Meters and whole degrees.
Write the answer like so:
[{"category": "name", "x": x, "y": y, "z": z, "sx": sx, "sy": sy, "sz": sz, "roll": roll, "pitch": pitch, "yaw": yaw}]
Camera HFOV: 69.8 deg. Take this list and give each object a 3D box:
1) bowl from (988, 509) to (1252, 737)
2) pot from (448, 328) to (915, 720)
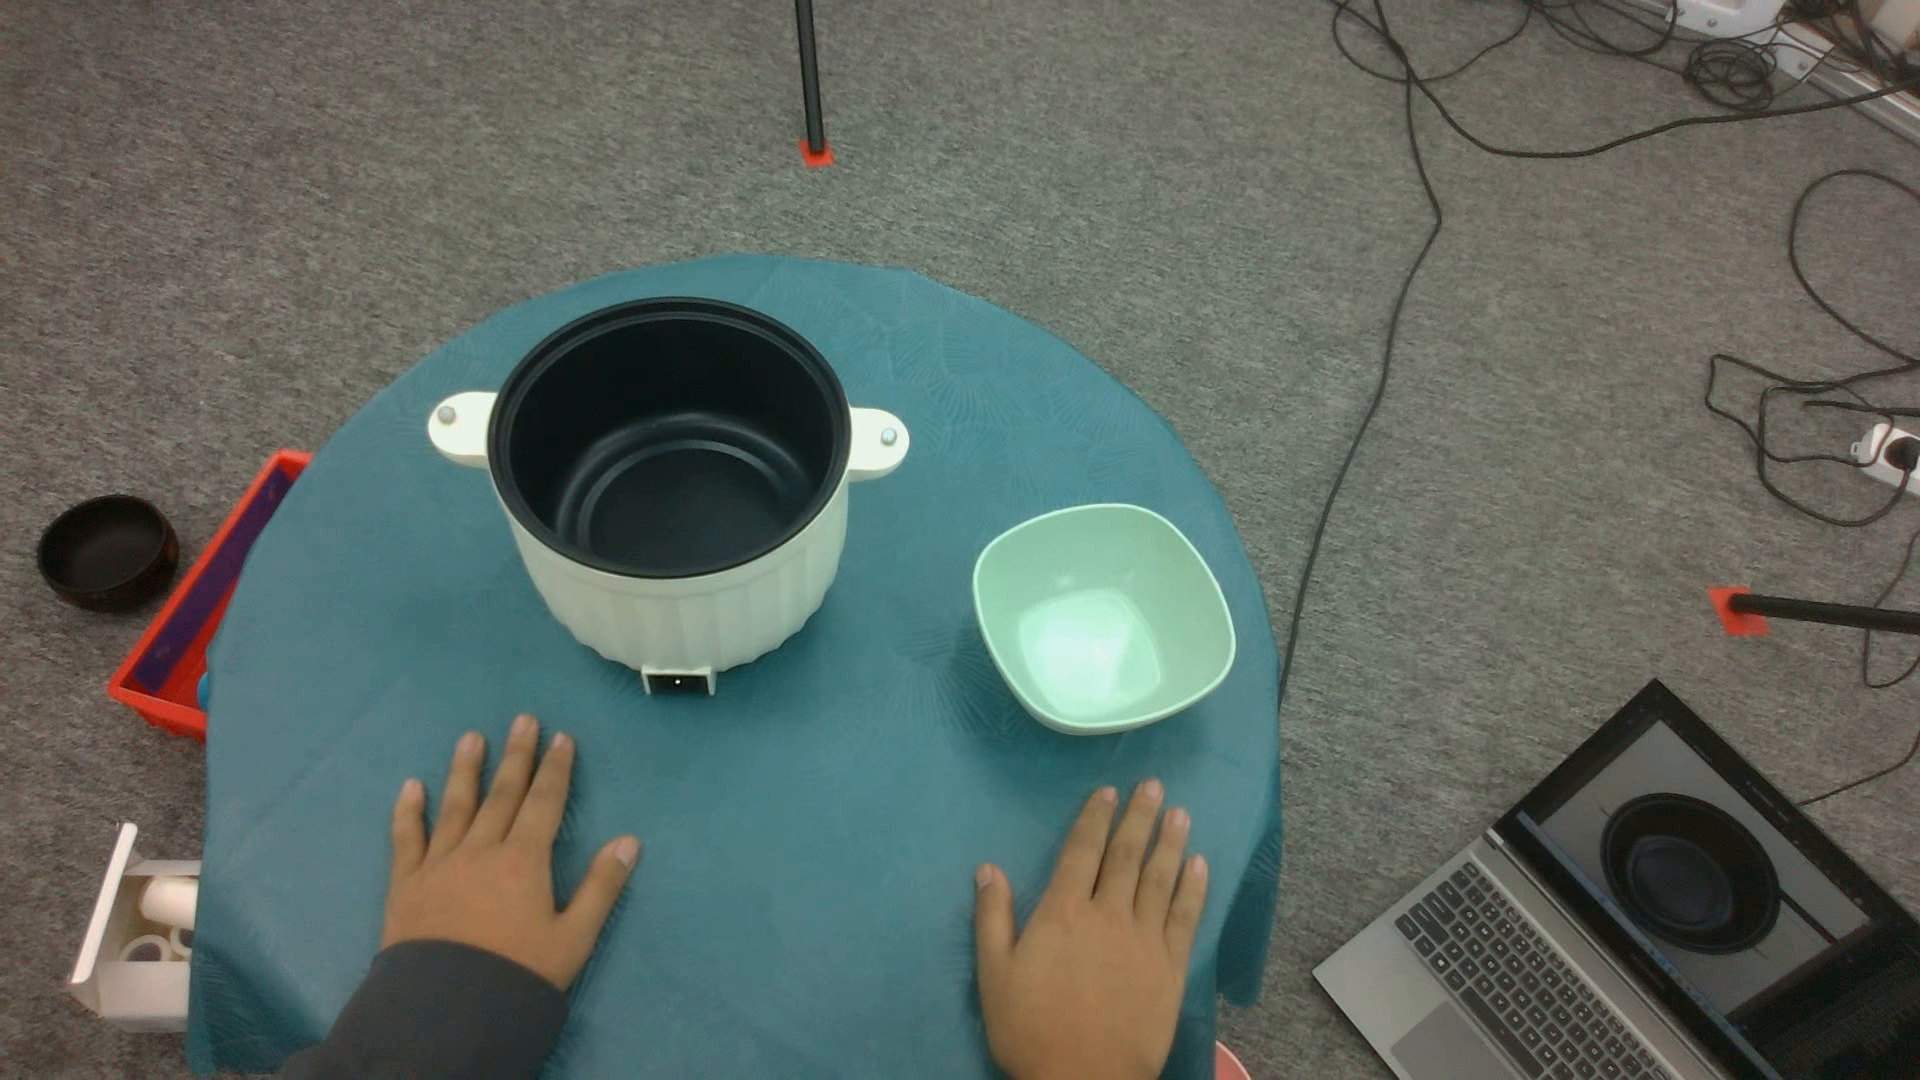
[{"category": "bowl", "x": 0.088, "y": 0.056, "z": 0.790, "sx": 0.151, "sy": 0.058, "sz": 0.152, "roll": 1, "pitch": 54, "yaw": -1}, {"category": "pot", "x": -0.148, "y": -0.011, "z": 0.773, "sx": 0.240, "sy": 0.142, "sz": 0.191, "roll": -2, "pitch": 59, "yaw": -6}]
